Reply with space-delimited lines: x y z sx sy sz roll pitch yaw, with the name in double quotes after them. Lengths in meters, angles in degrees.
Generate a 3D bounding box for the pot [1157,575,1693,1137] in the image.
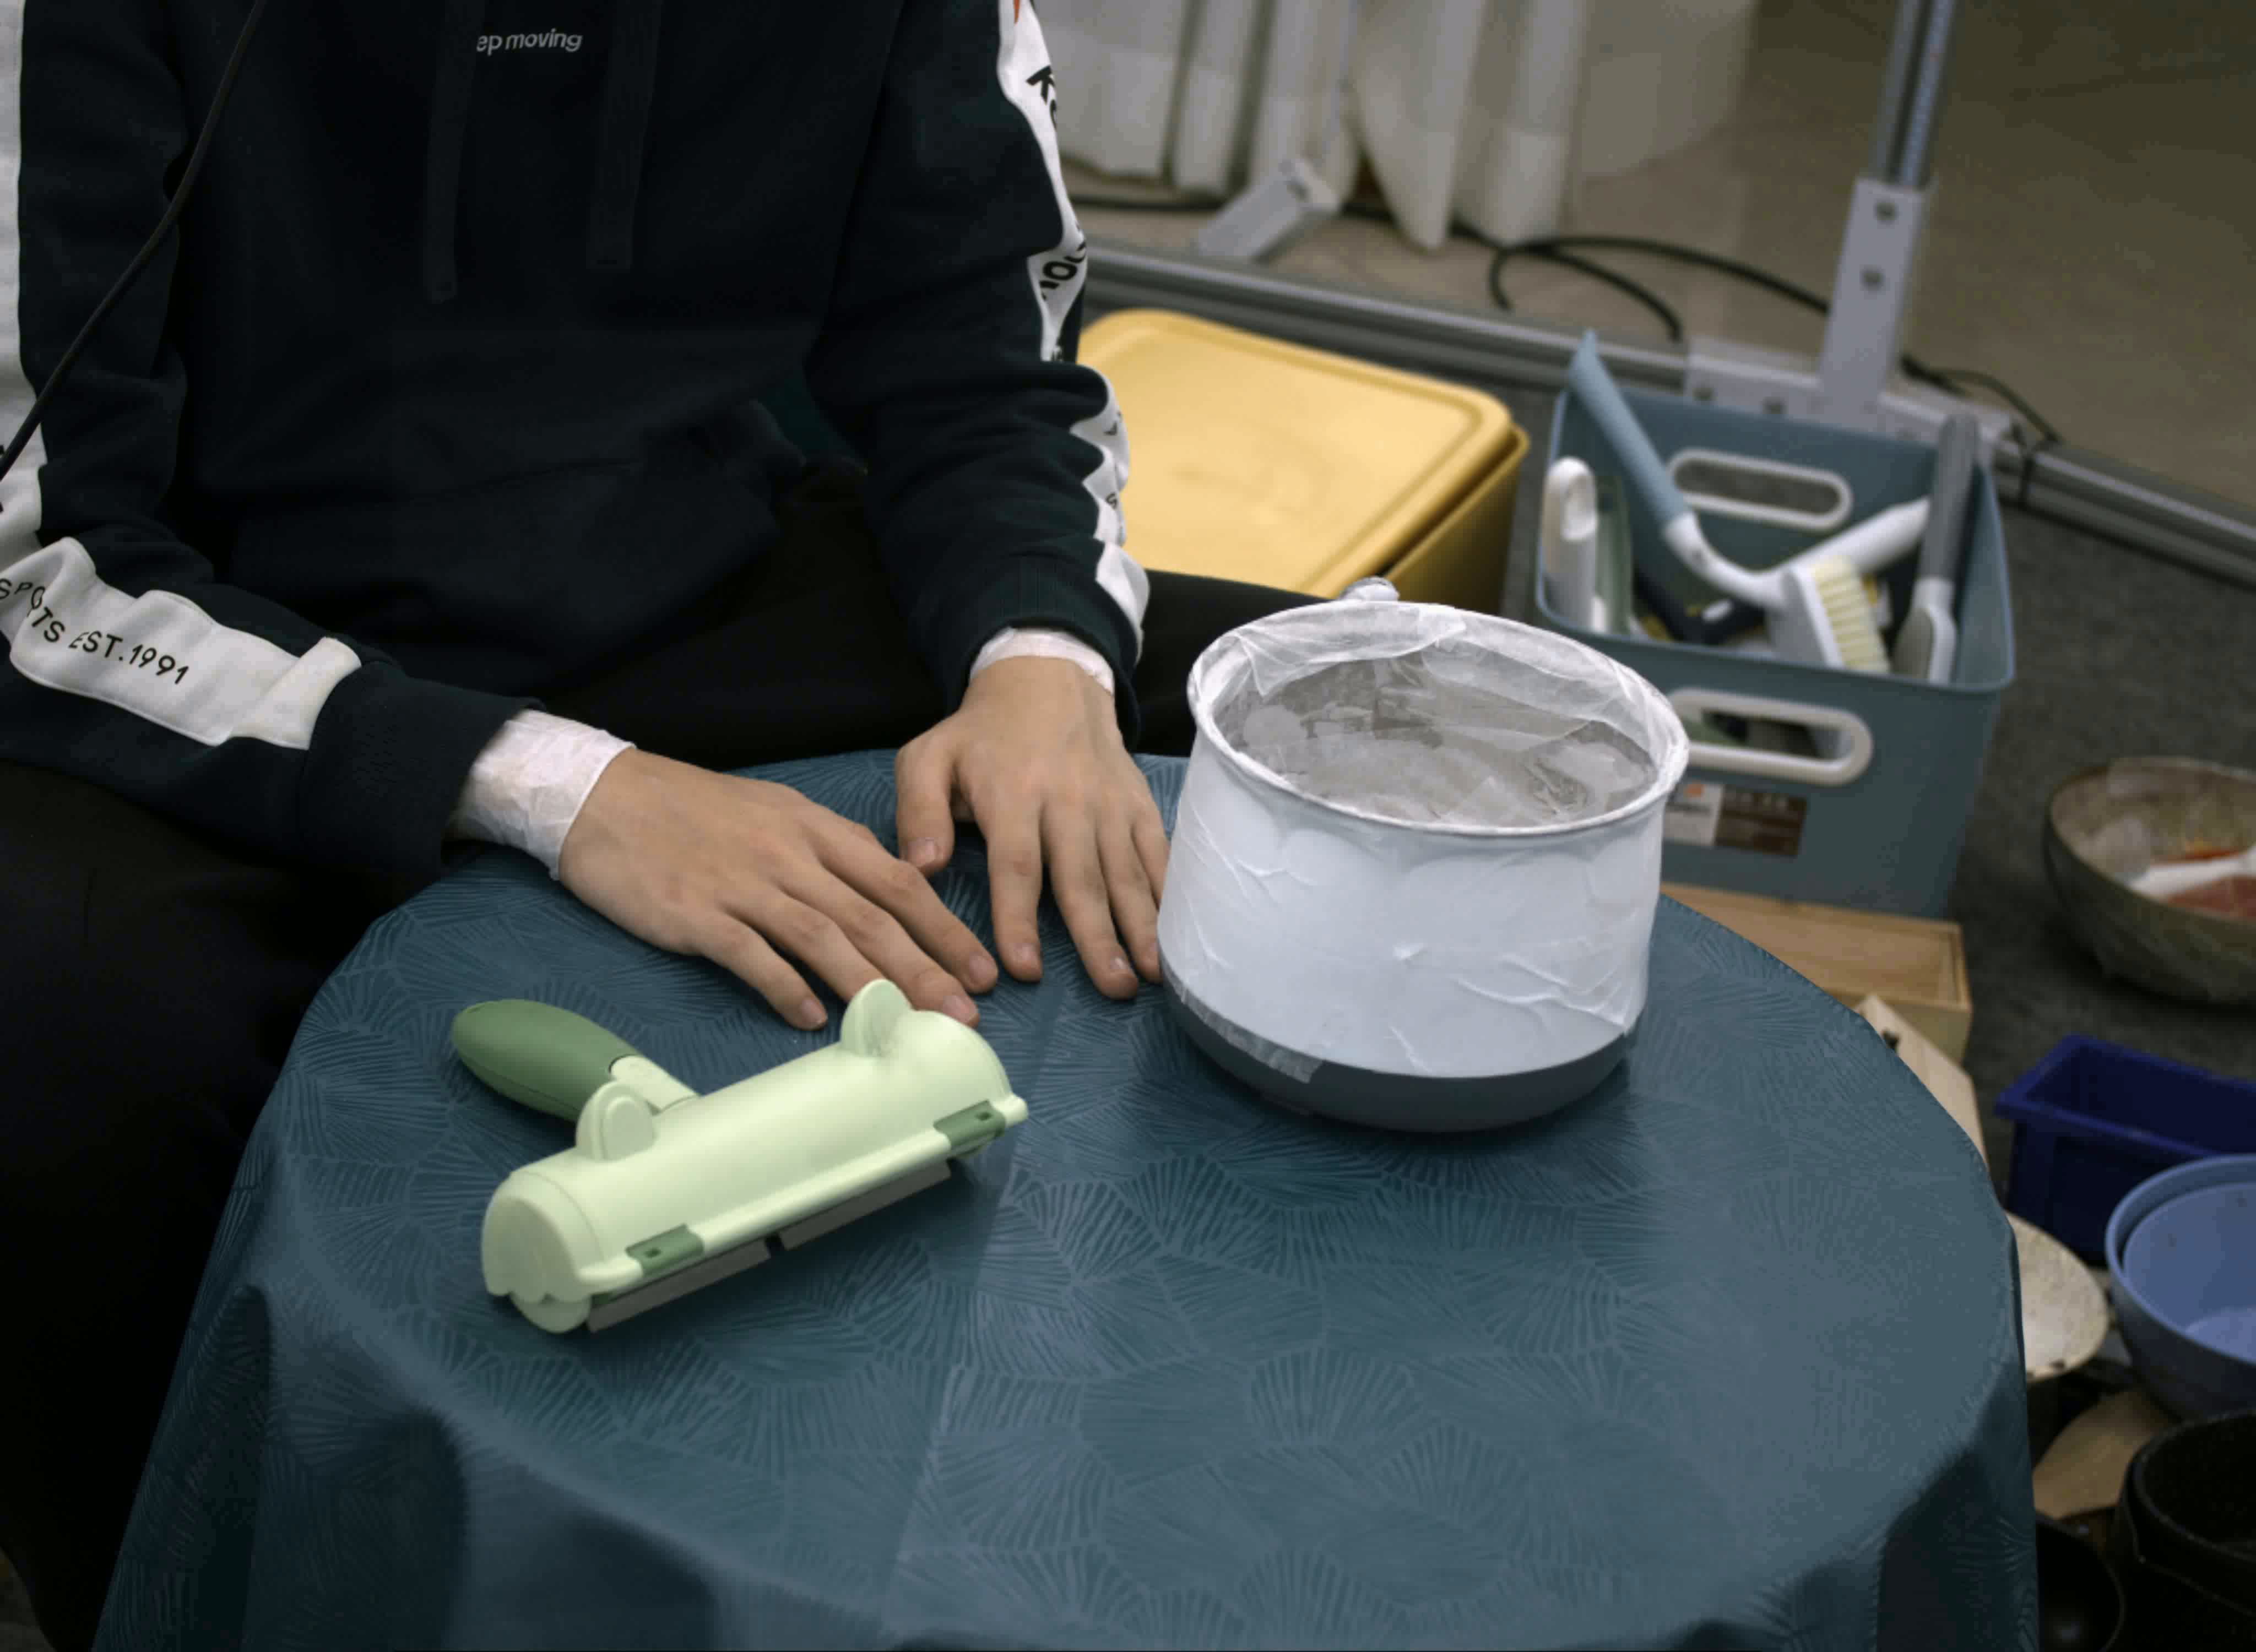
0.096 0.003 1.904 0.178 0.136 0.235 1 28 -13 "pot"

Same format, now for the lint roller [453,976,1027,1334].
-0.161 0.080 1.766 0.197 0.082 0.185 -20 42 -41 "lint roller"
